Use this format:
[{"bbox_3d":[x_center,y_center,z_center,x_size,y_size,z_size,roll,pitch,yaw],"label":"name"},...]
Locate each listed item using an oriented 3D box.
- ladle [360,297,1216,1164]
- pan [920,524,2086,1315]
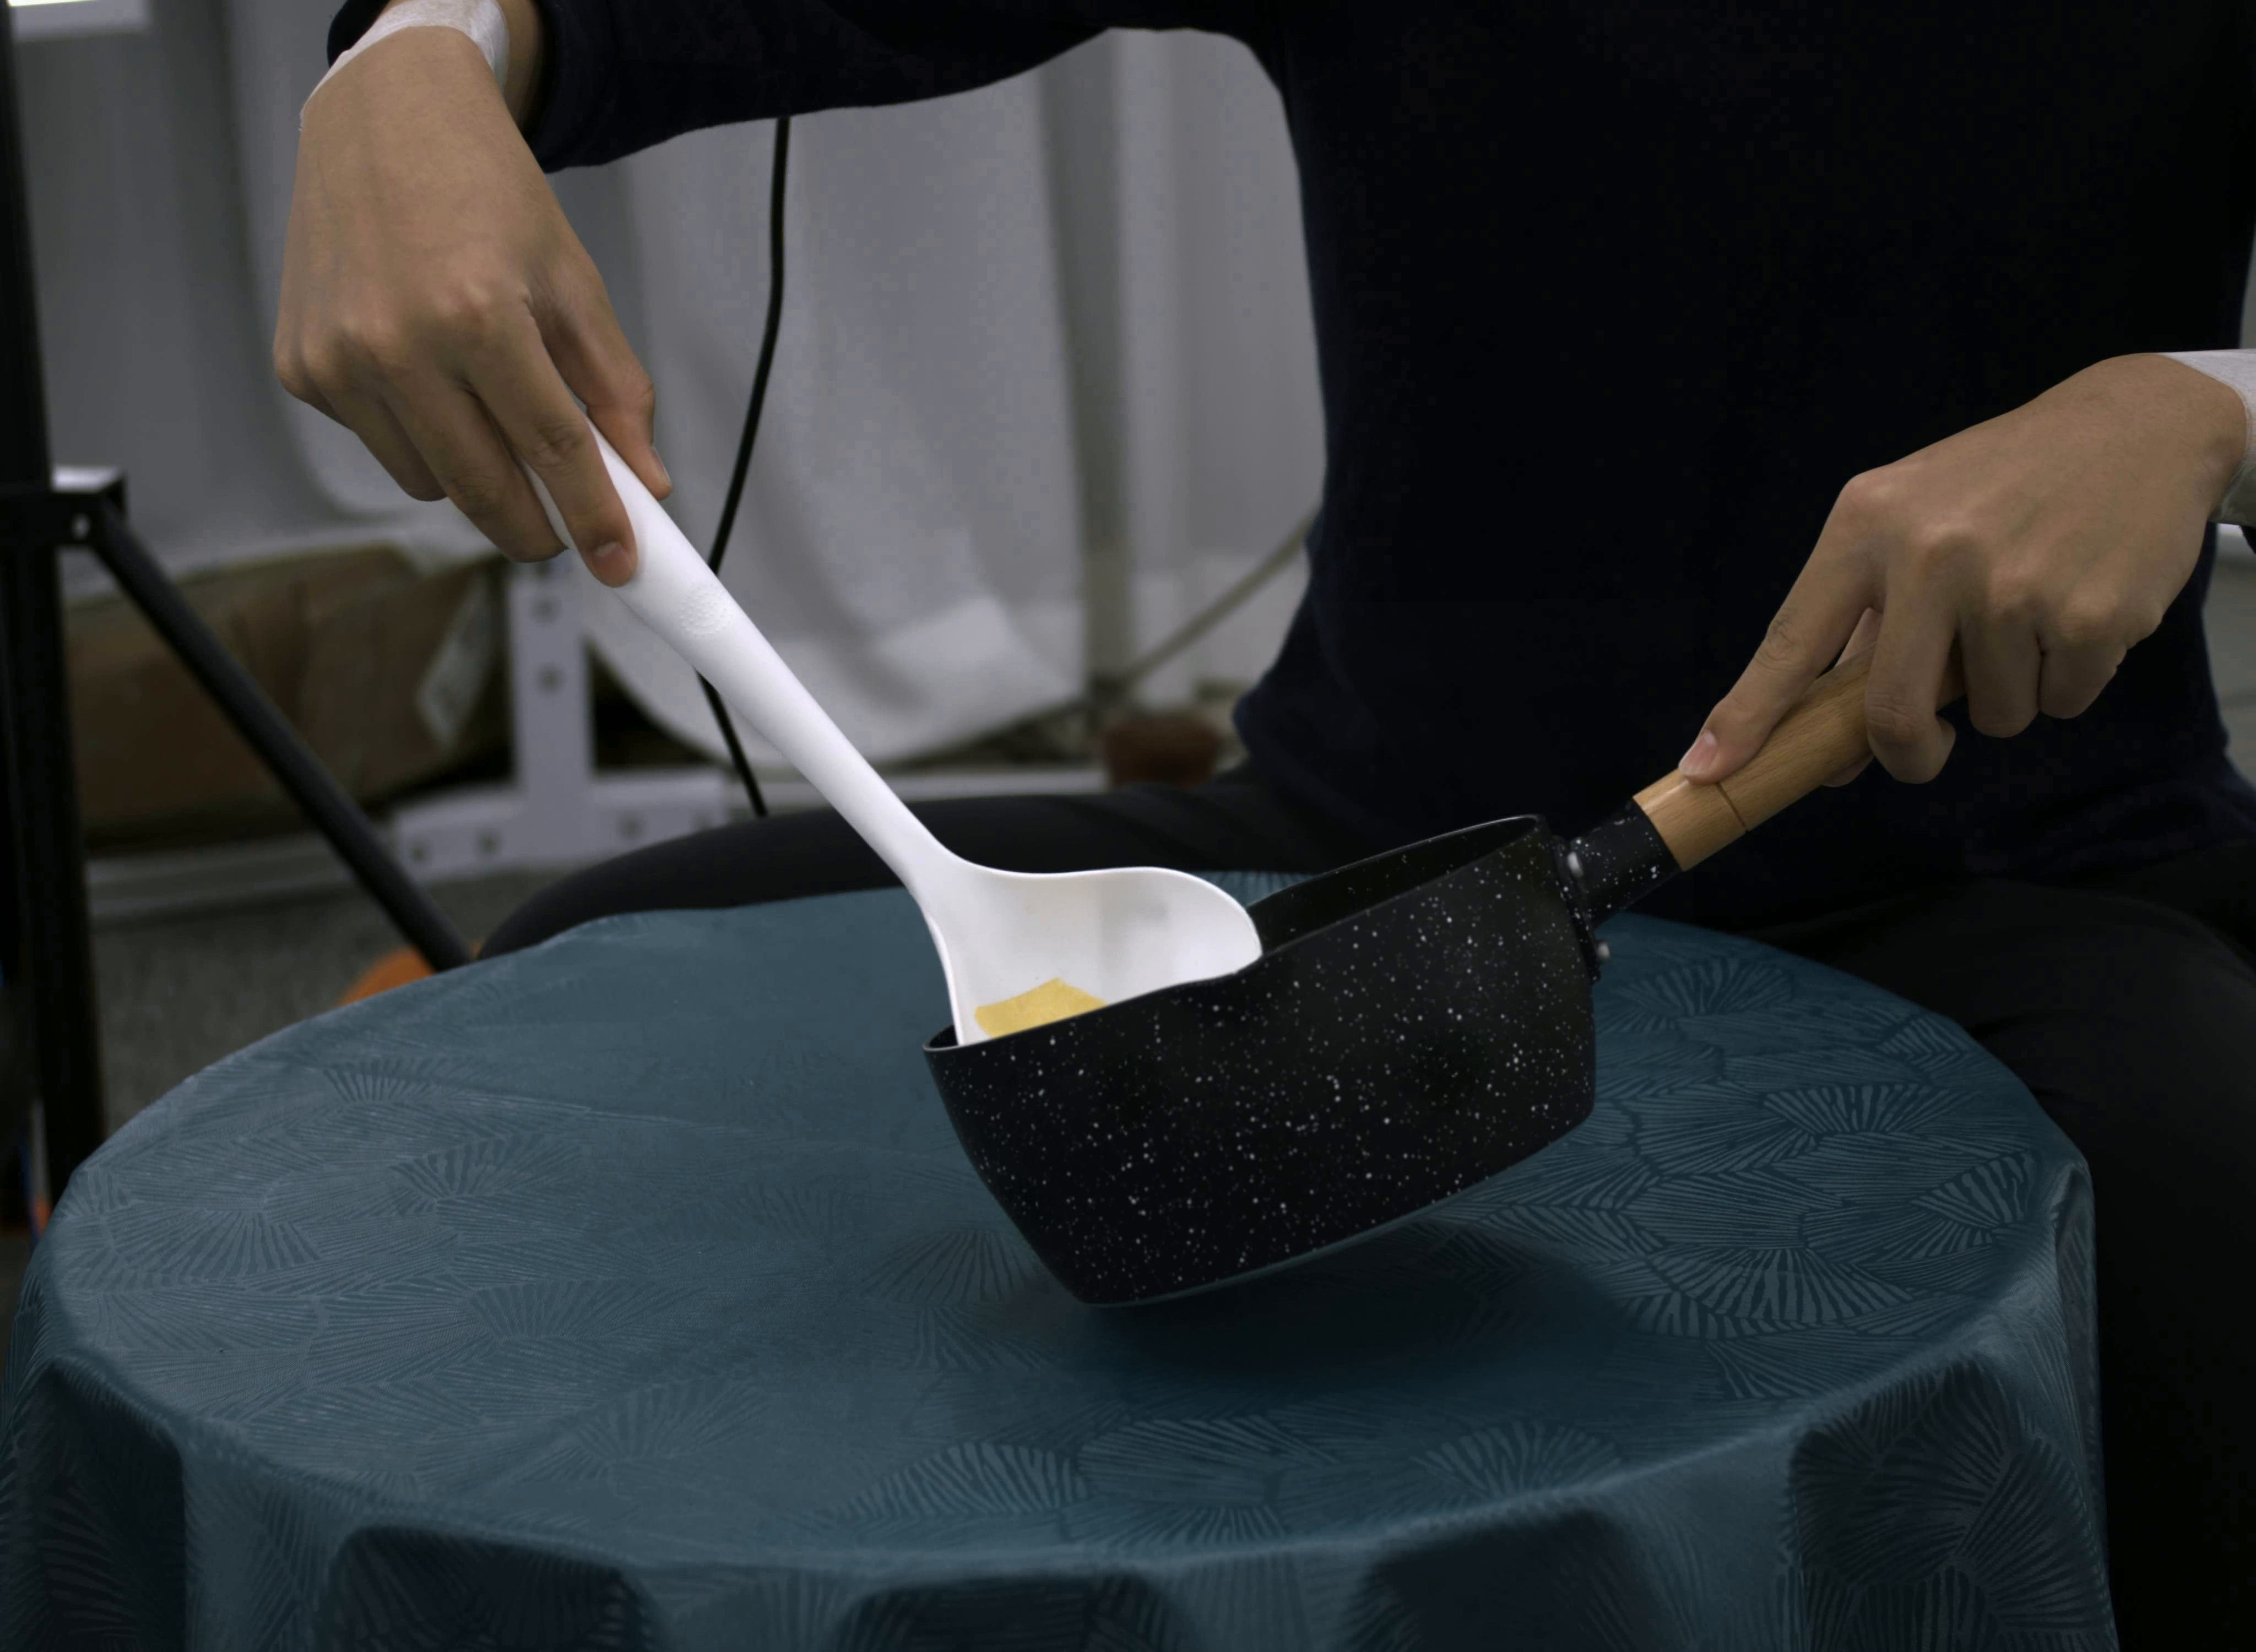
[{"bbox_3d":[-0.093,-0.030,1.431,0.089,0.293,0.070,-44,2,-14],"label":"ladle"},{"bbox_3d":[0.114,0.029,1.451,0.342,0.108,0.207,-21,2,3],"label":"pan"}]
